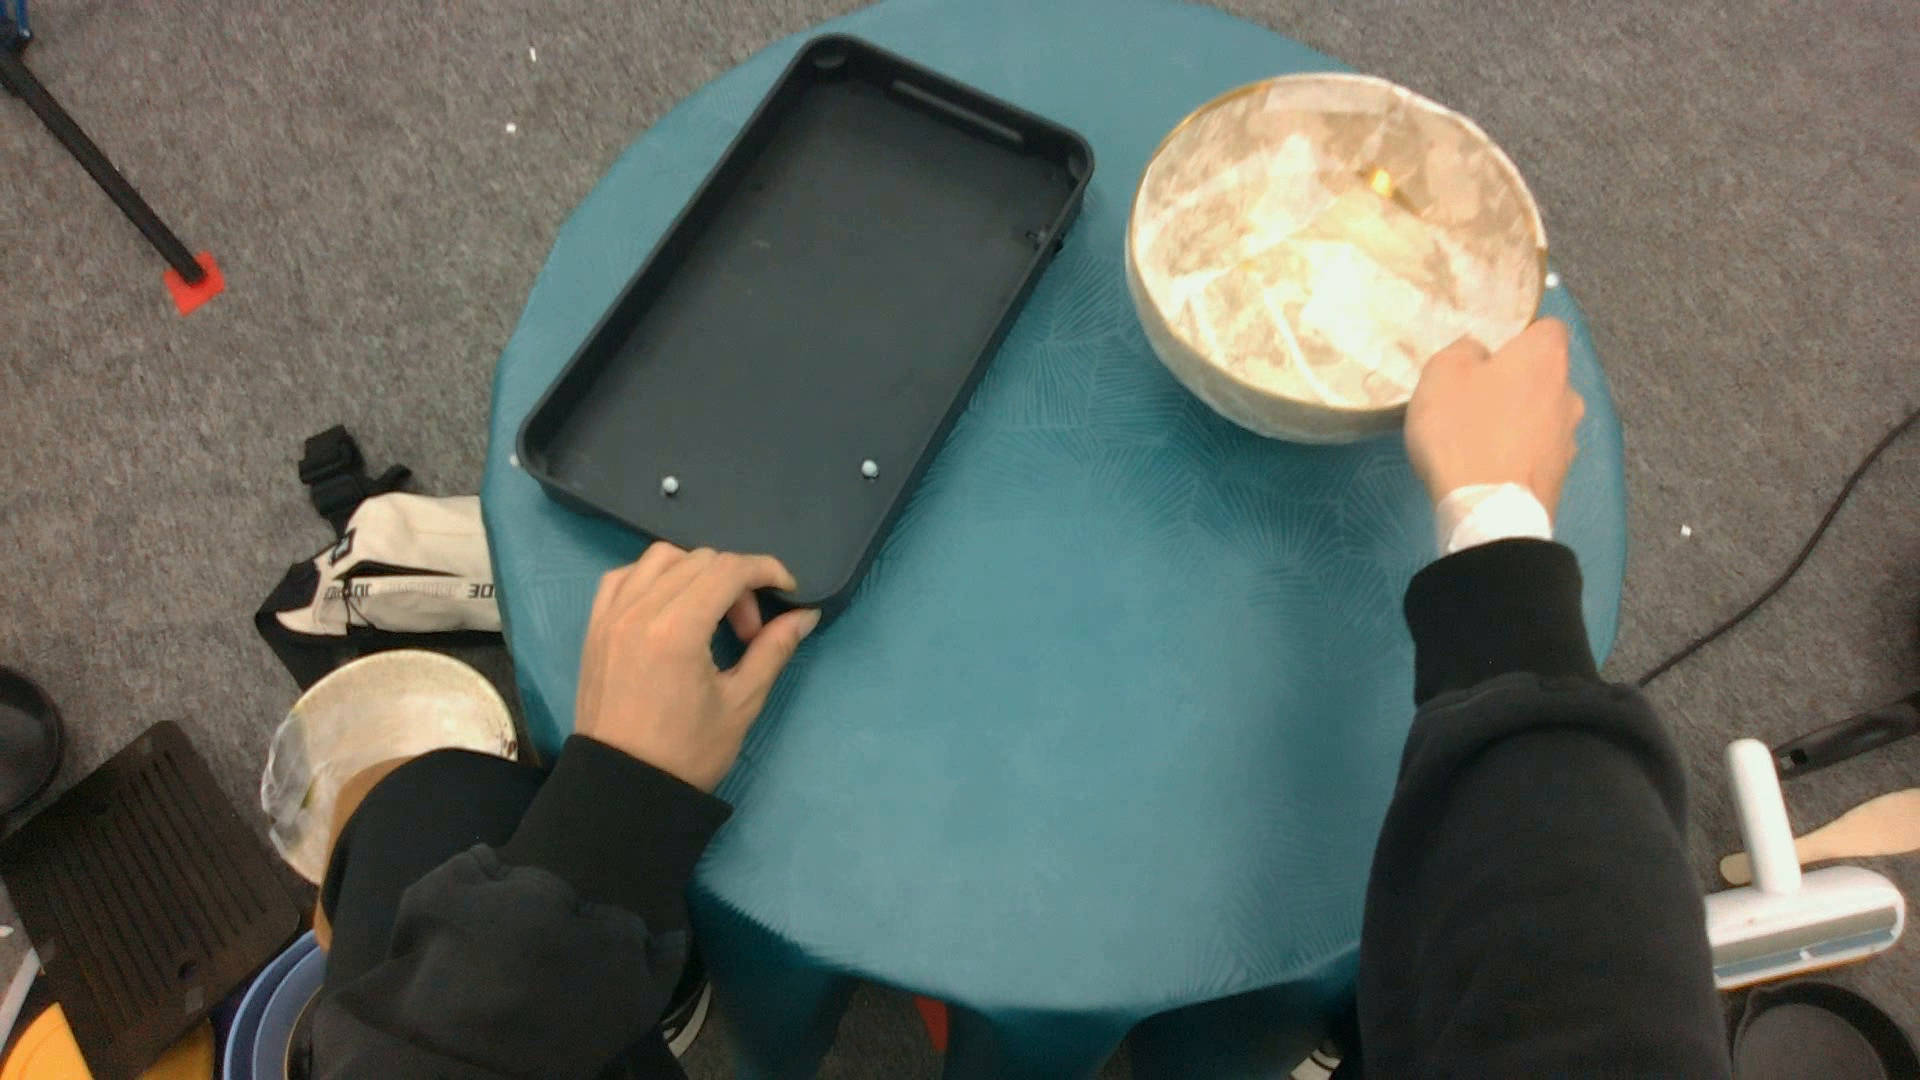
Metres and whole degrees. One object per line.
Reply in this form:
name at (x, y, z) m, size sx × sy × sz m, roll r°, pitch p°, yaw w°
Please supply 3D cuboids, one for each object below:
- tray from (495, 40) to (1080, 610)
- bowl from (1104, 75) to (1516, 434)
tray at (-0.081, -0.126, 0.733) m, size 0.184 × 0.037 × 0.319 m, roll 26°, pitch 65°, yaw 11°
bowl at (0.167, -0.132, 0.713) m, size 0.215 × 0.094 × 0.215 m, roll 1°, pitch 64°, yaw -2°
